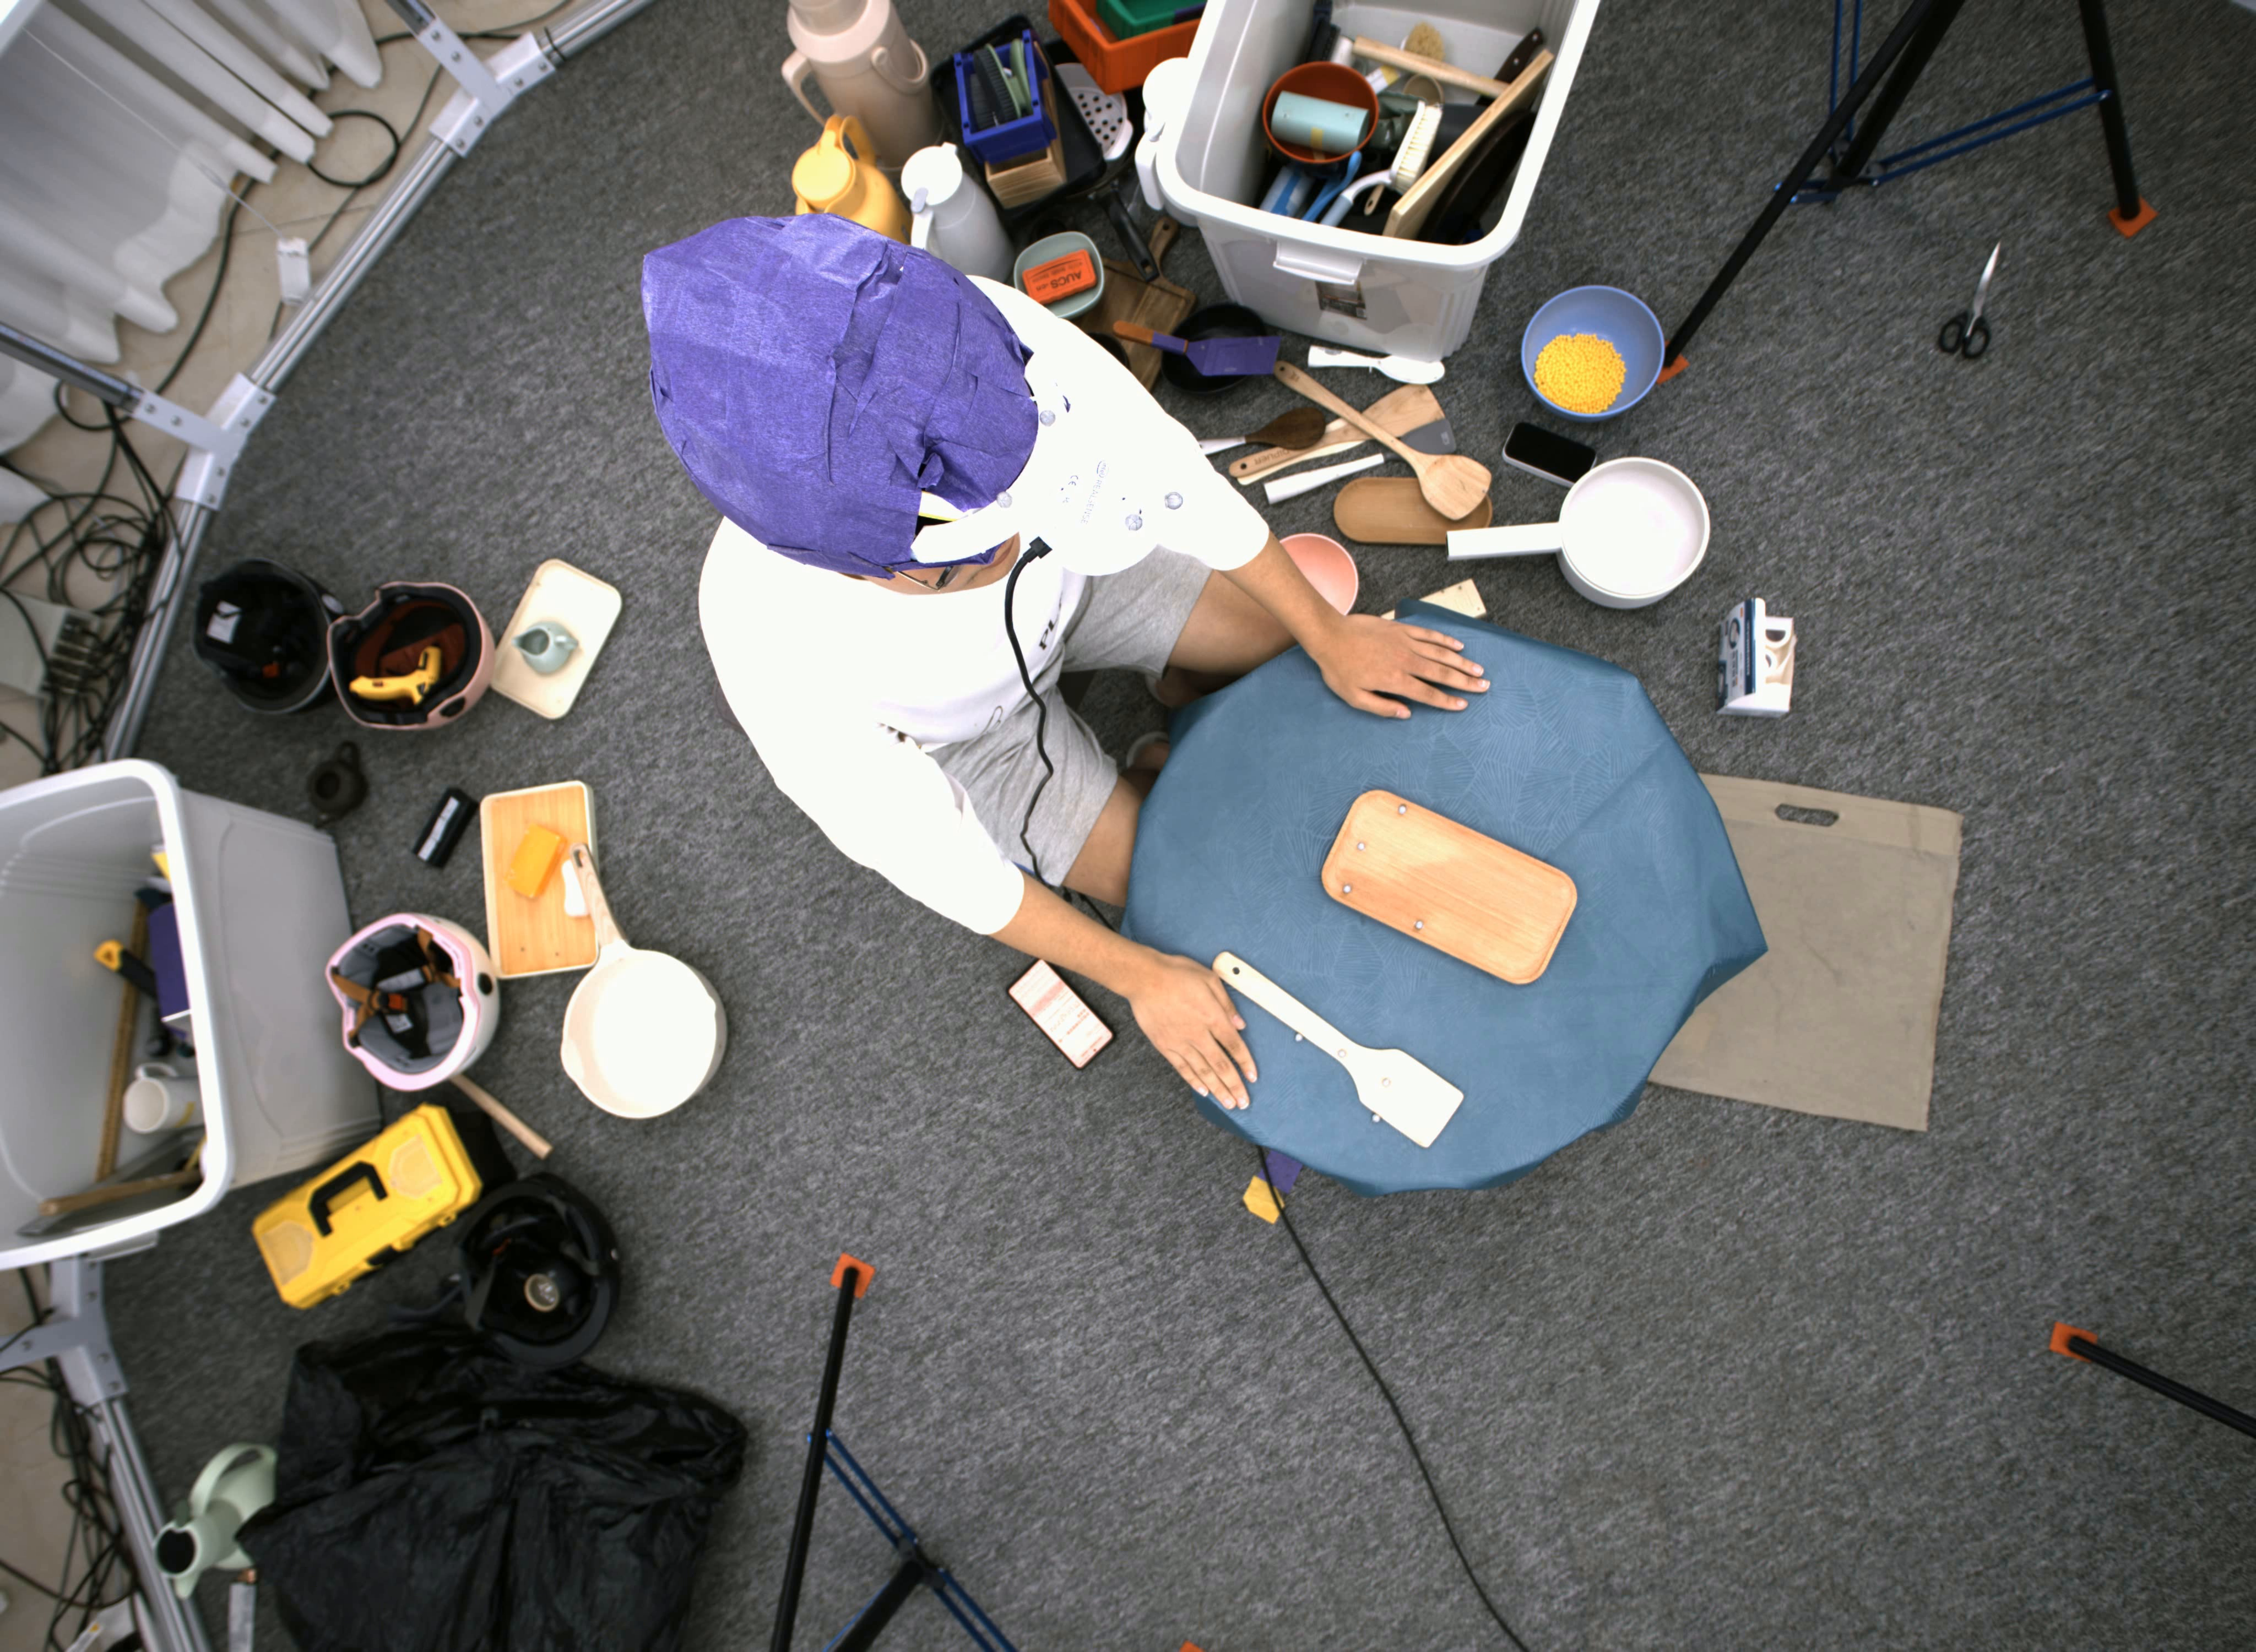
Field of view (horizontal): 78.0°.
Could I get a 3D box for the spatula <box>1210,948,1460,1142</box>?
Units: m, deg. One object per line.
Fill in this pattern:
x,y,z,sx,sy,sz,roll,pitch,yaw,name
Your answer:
0.209,0.220,1.458,0.292,0.010,0.072,35,95,11,spatula

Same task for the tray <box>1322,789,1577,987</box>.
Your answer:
0.334,0.062,1.440,0.250,0.023,0.131,27,94,11,tray
